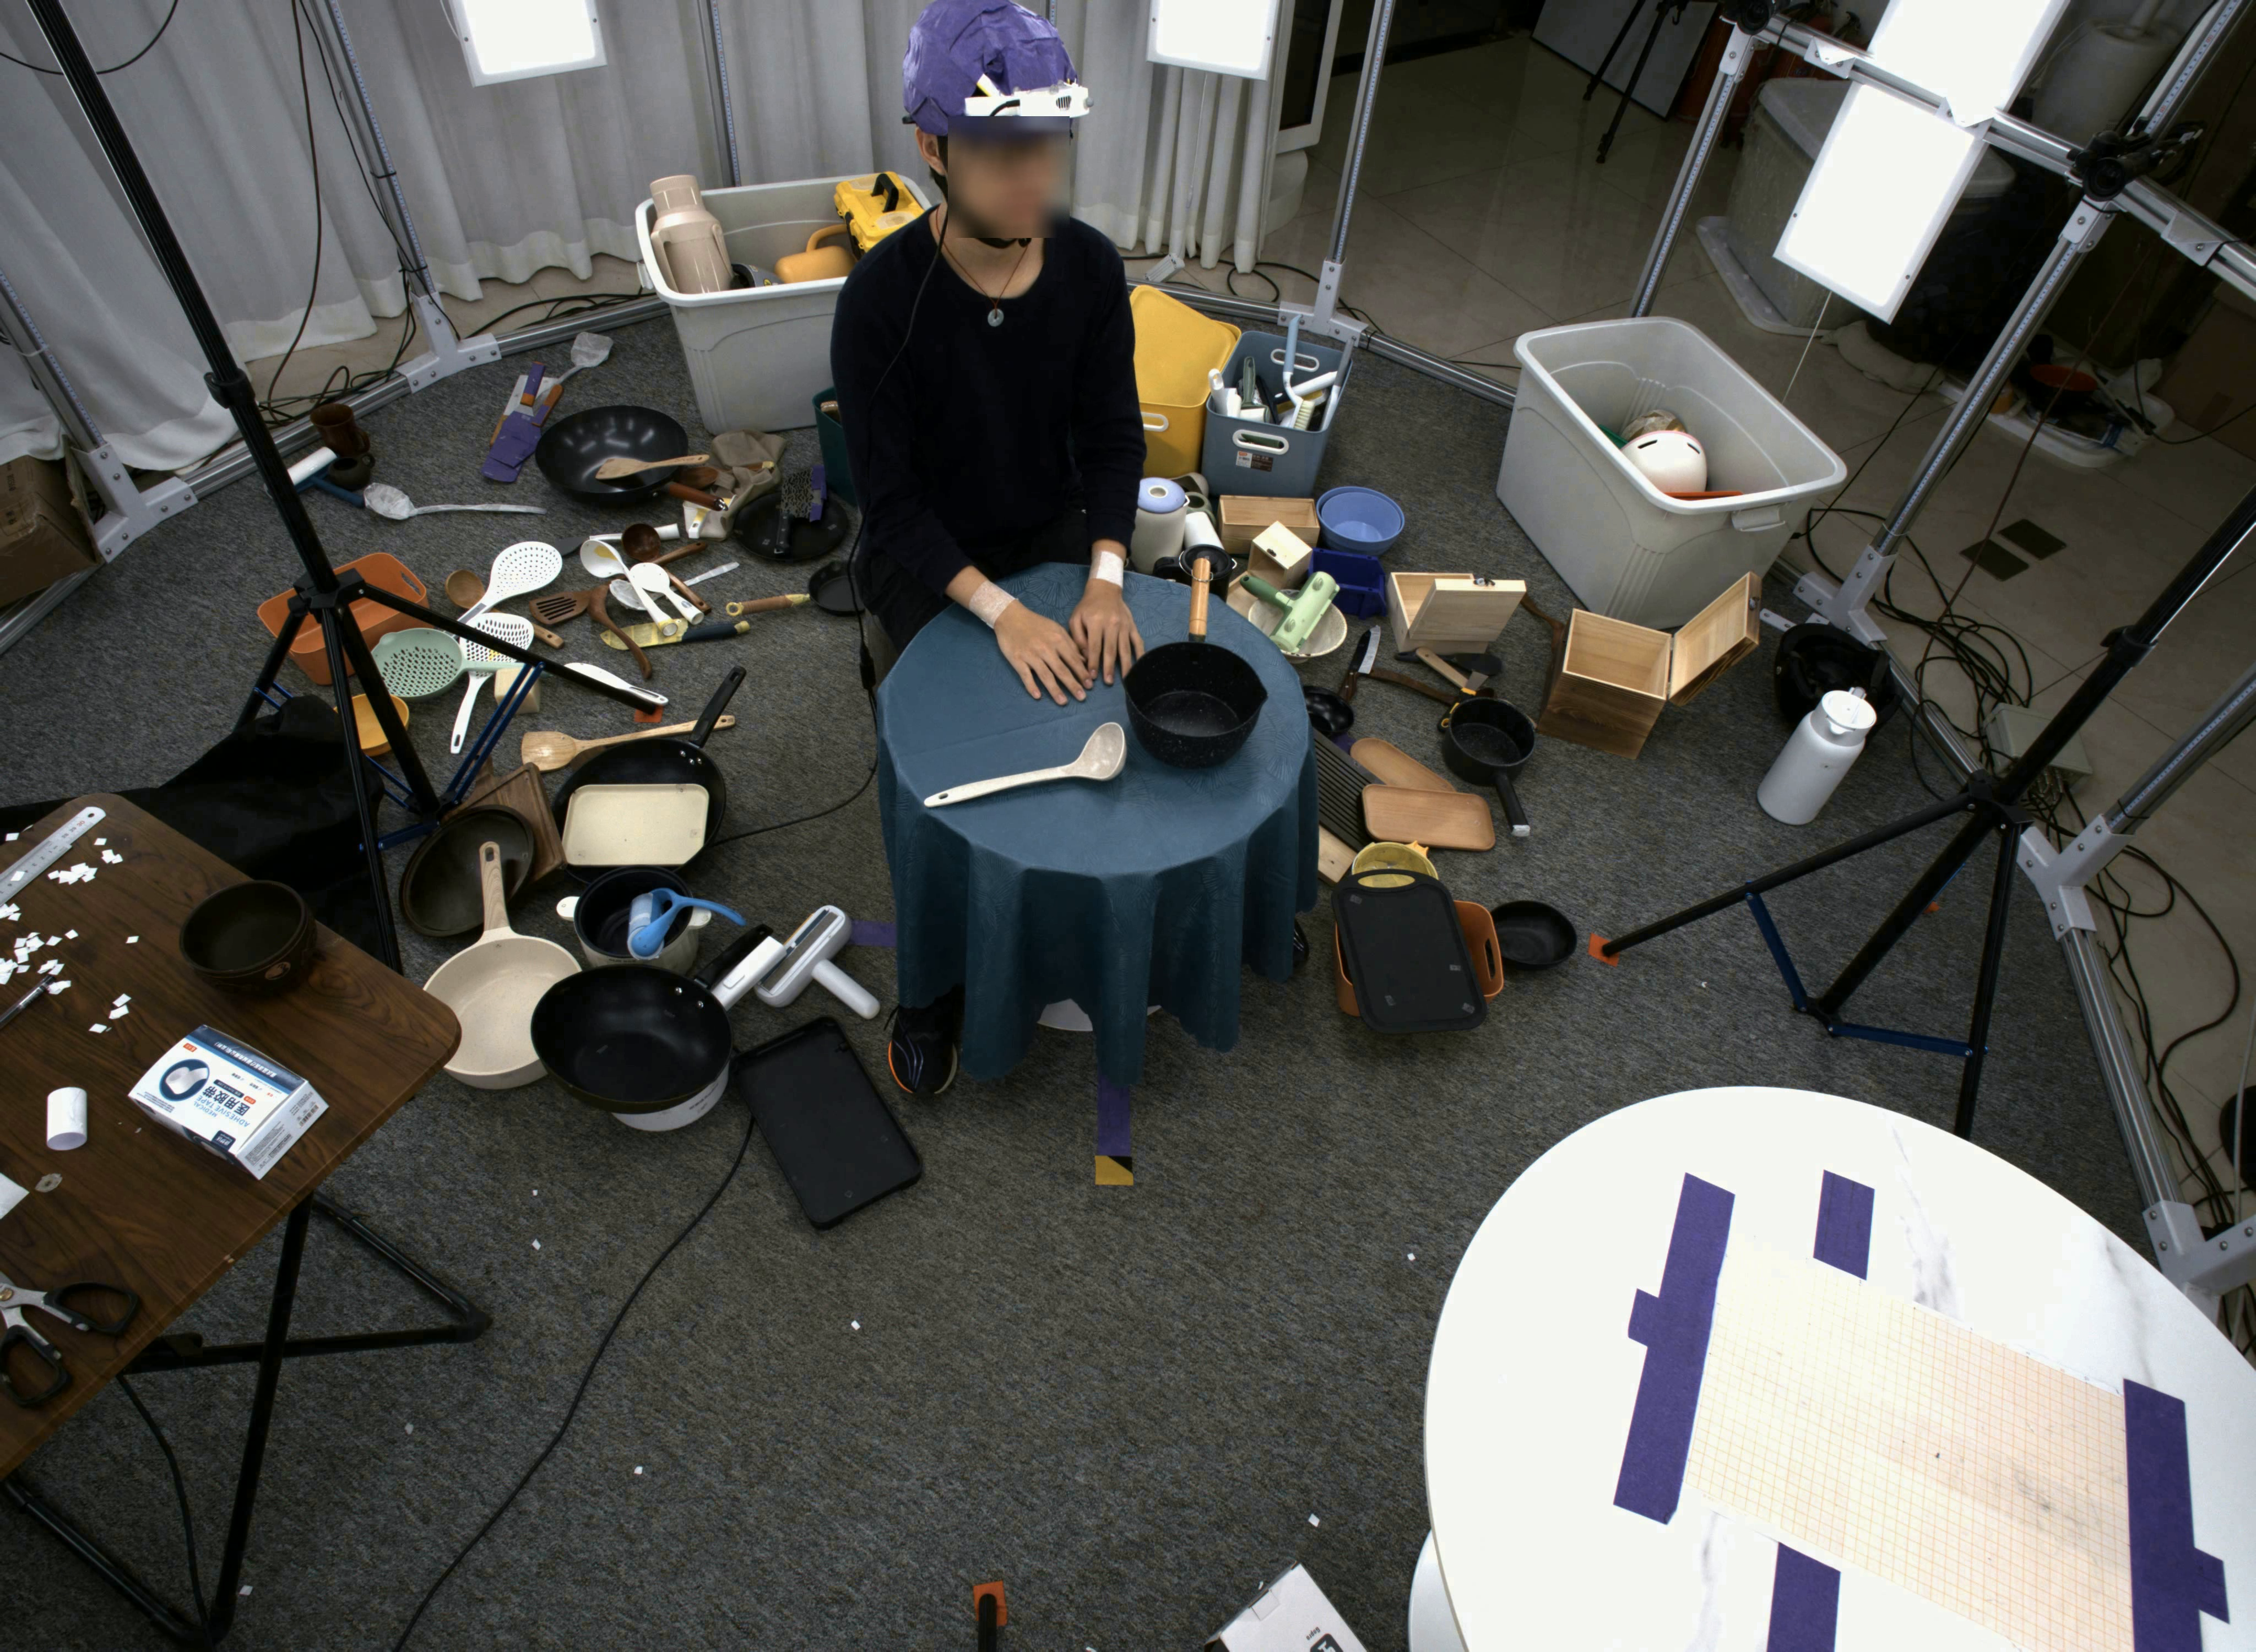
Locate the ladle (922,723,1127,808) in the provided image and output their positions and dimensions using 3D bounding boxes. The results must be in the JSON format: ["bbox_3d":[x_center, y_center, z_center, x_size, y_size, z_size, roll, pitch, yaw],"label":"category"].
[{"bbox_3d":[-0.136,-0.078,1.684,0.275,0.068,0.091,-11,45,-12],"label":"ladle"}]

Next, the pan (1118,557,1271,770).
[{"bbox_3d":[0.093,-0.230,1.804,0.207,0.105,0.351,3,50,1],"label":"pan"}]
